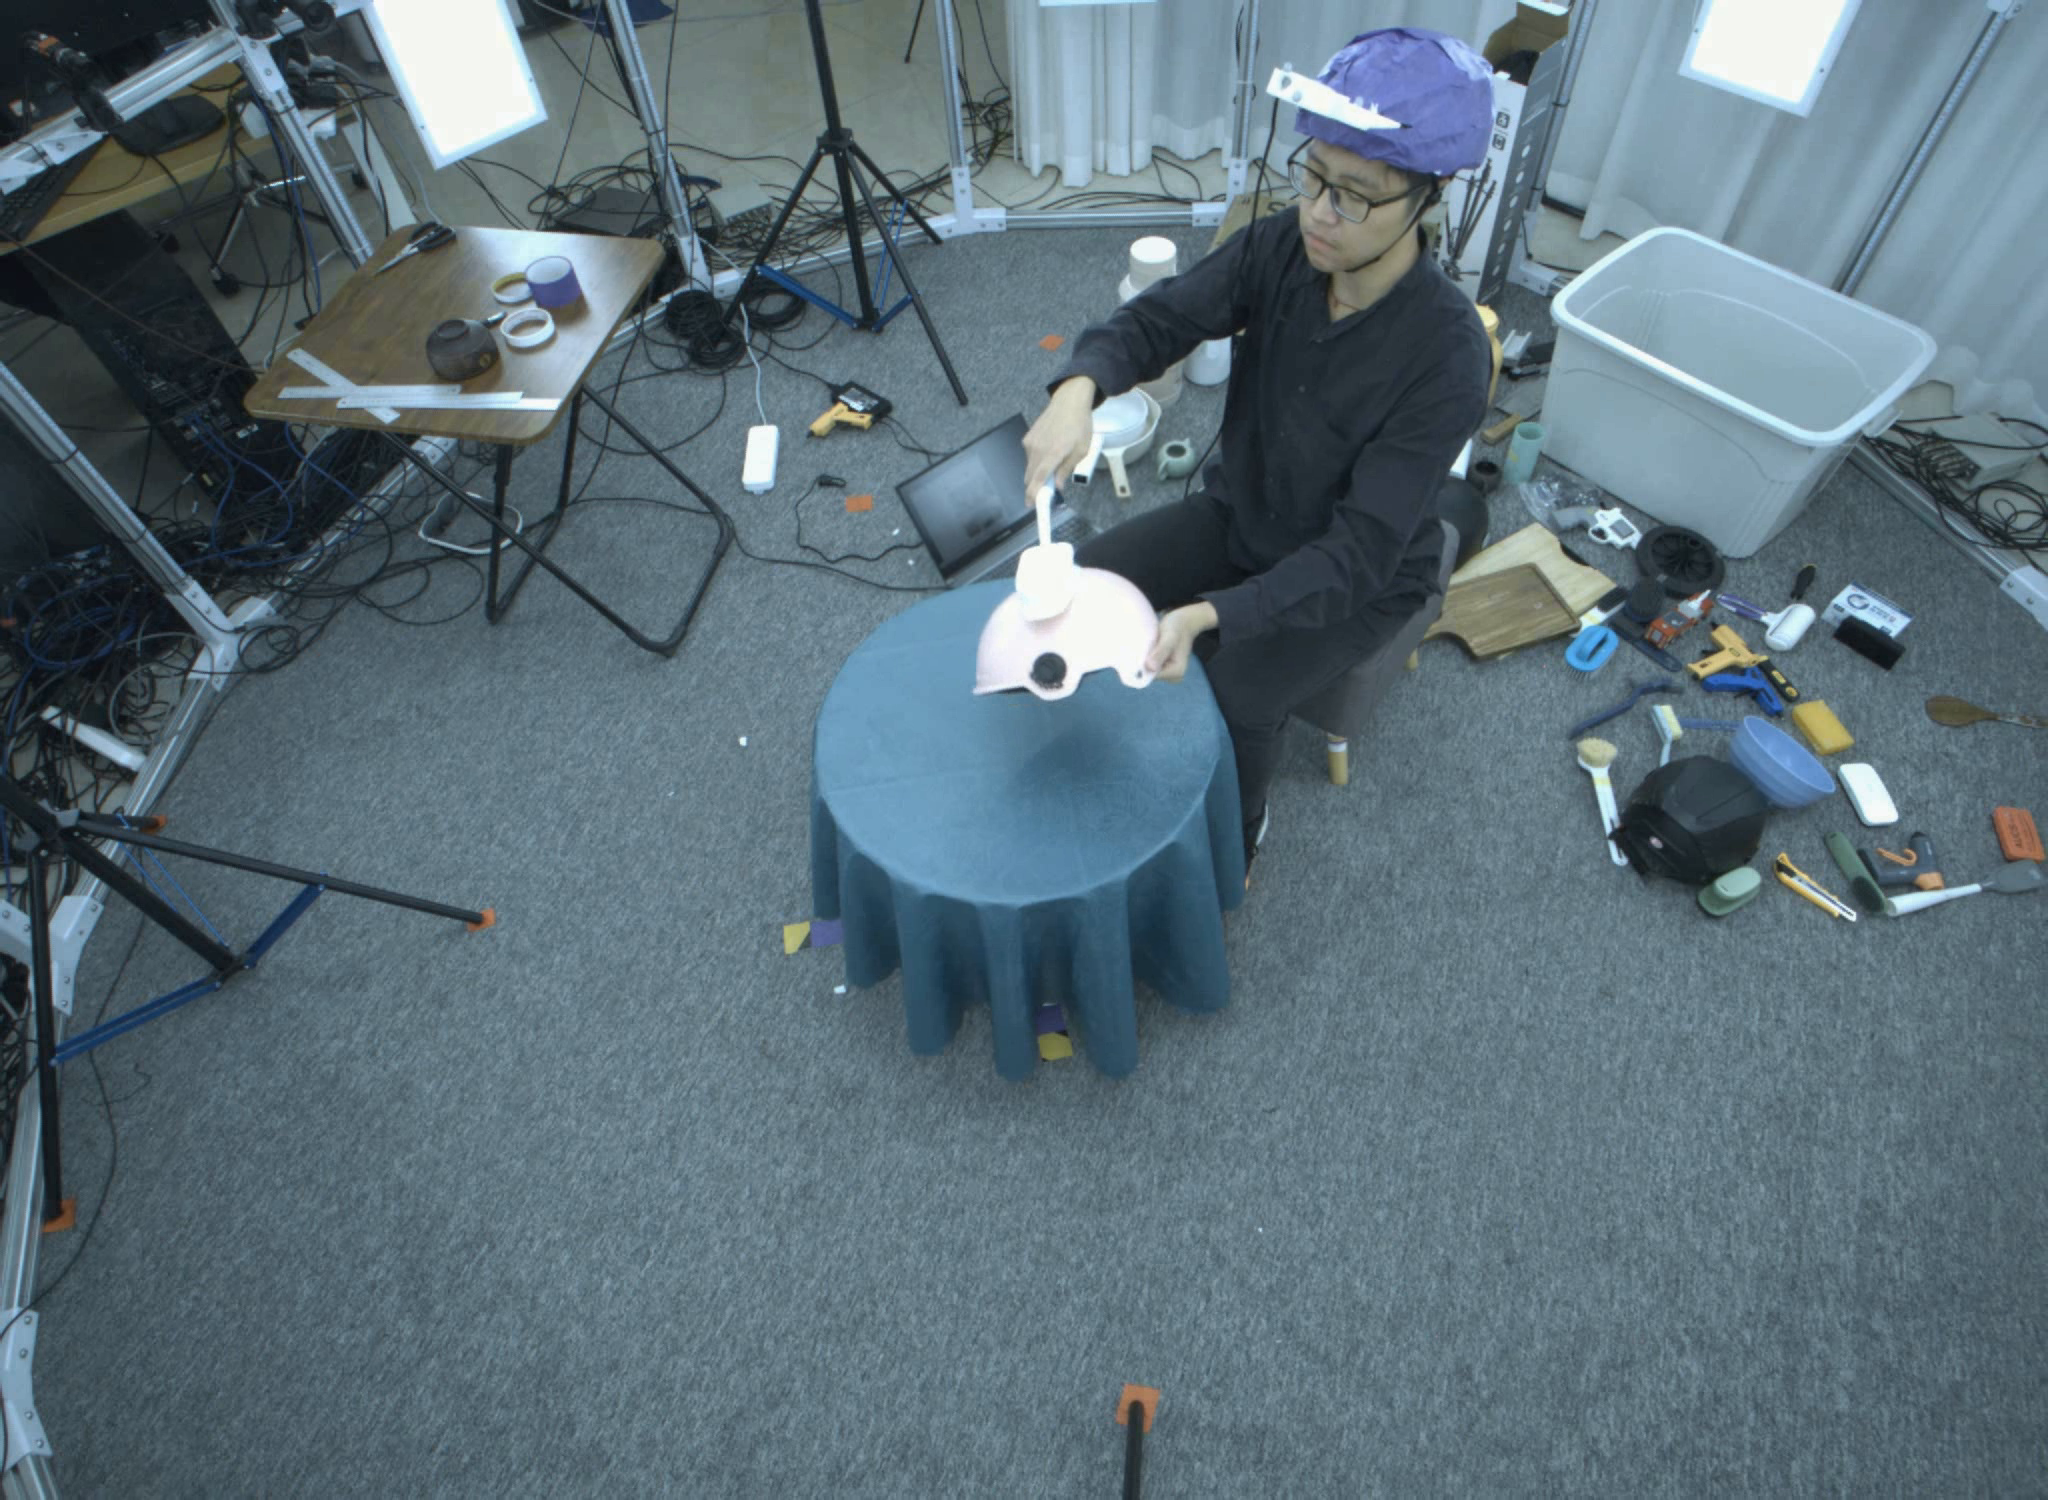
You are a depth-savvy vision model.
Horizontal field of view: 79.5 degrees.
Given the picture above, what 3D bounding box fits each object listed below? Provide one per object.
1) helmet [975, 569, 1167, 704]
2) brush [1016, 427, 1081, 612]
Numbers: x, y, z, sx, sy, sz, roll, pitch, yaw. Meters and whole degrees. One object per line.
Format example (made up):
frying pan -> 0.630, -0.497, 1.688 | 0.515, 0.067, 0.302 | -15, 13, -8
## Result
helmet -> 0.051, -0.156, 1.633 | 0.266, 0.160, 0.233 | -11, 11, 1
brush -> 0.040, -0.294, 1.595 | 0.084, 0.084, 0.323 | 18, 52, -15
